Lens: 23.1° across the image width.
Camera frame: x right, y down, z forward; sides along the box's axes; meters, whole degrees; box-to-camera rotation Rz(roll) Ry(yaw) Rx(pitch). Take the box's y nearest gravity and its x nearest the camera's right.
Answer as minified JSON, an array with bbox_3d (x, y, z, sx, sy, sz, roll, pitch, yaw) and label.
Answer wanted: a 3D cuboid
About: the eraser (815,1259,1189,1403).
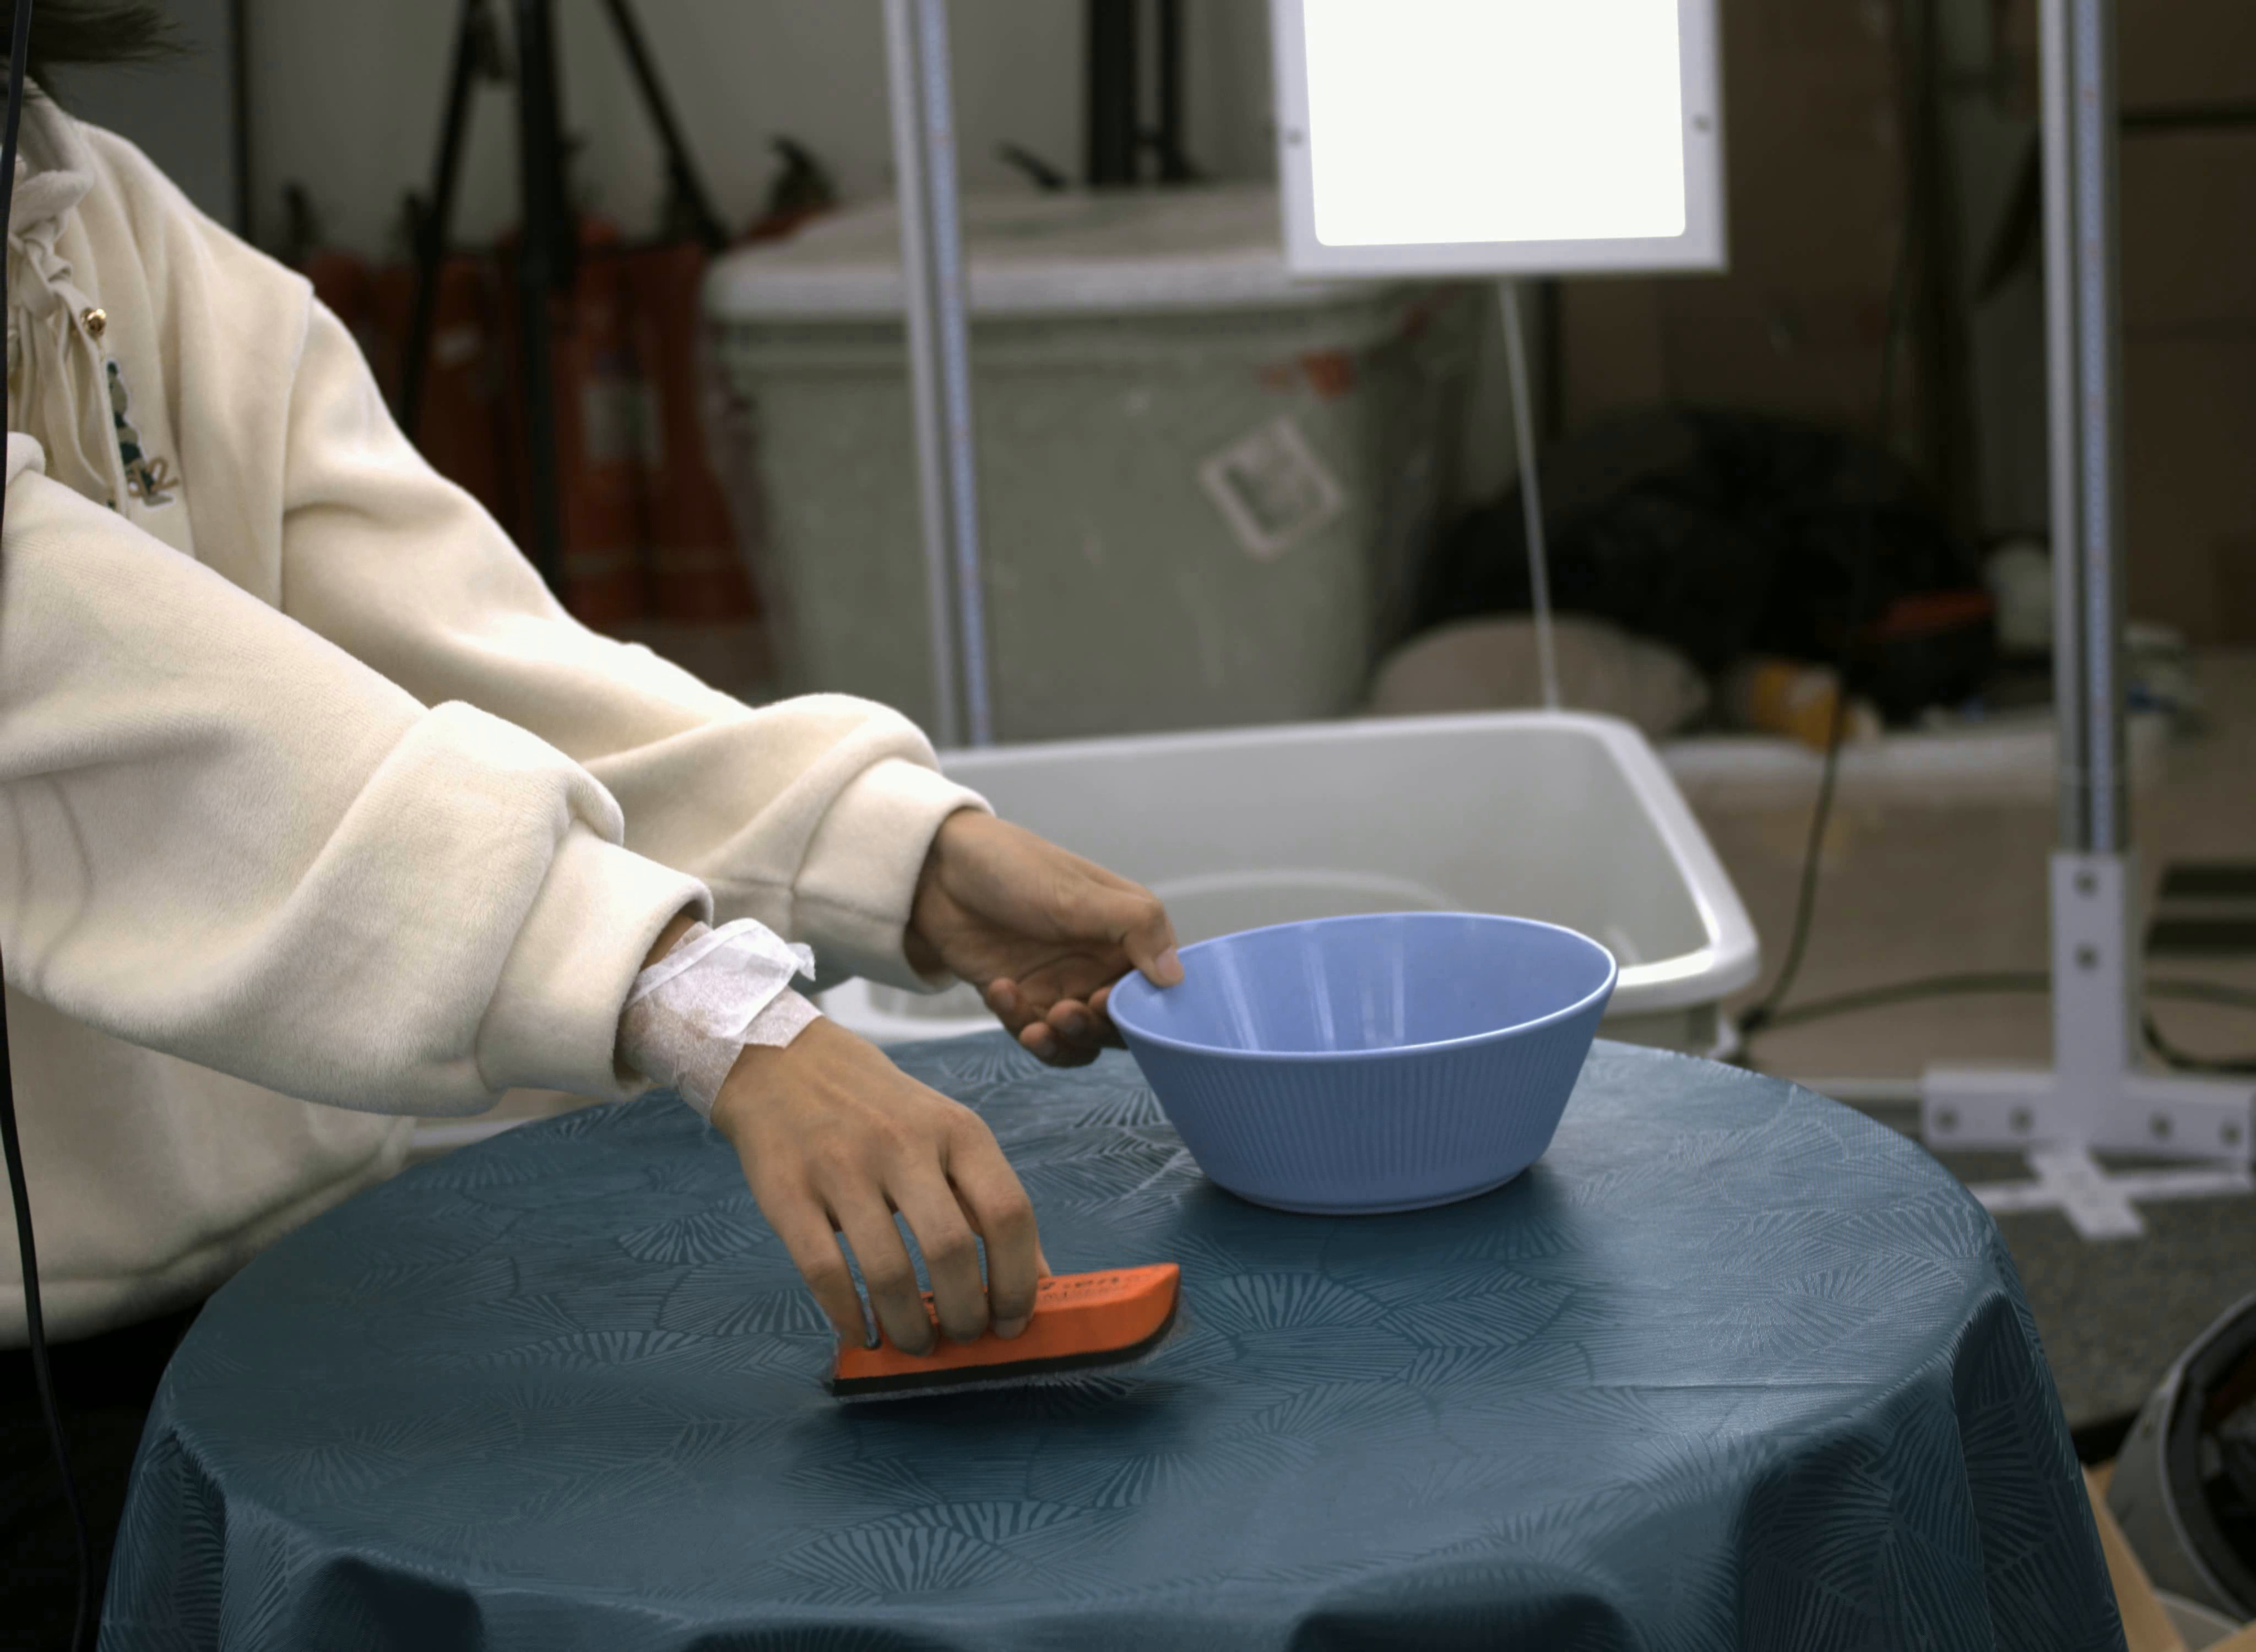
[{"bbox_3d":[-0.039,0.156,1.701,0.110,0.023,0.058,-9,7,25],"label":"eraser"}]

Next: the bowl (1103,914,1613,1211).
[{"bbox_3d":[0.081,0.083,1.891,0.175,0.070,0.176,-5,14,0],"label":"bowl"}]
